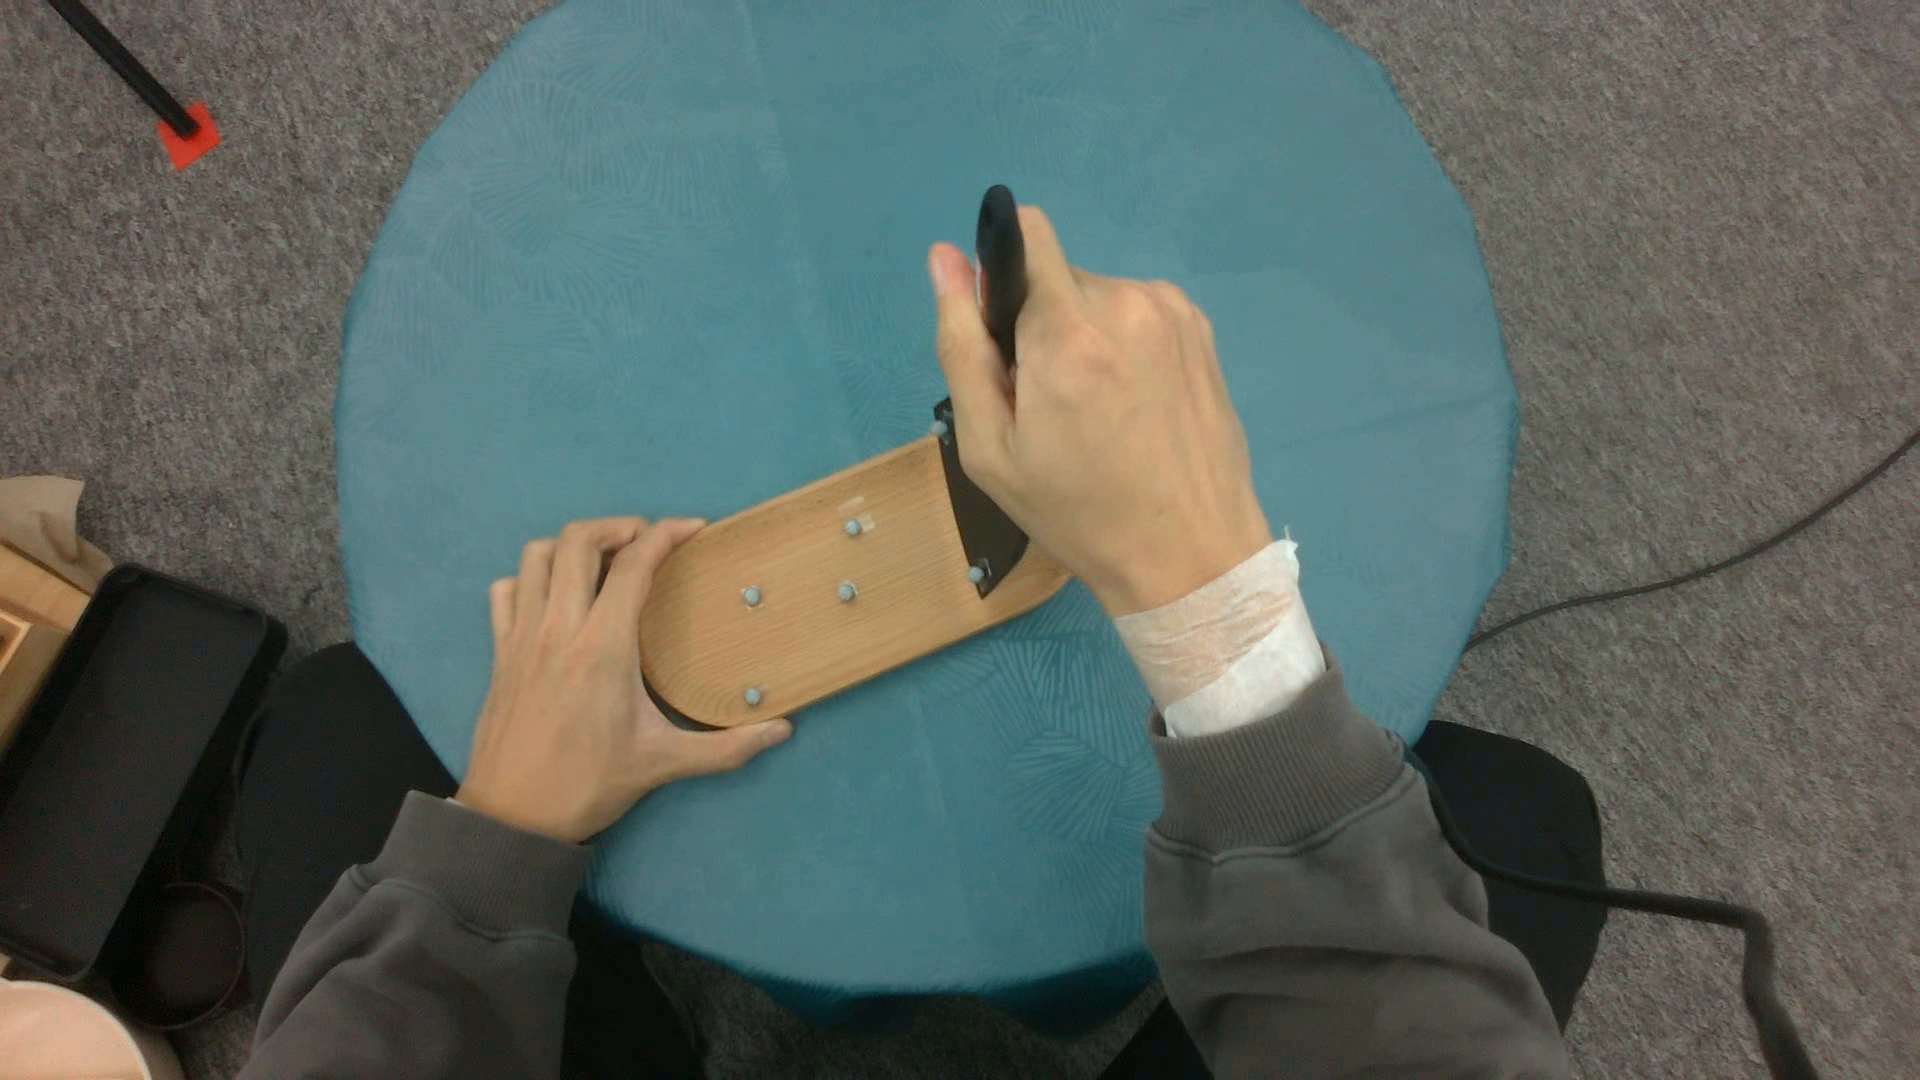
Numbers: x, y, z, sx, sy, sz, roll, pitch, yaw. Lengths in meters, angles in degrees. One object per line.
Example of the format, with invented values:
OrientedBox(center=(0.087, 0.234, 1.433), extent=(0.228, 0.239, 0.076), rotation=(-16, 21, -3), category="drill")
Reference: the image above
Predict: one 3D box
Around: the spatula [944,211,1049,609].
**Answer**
OrientedBox(center=(0.012, -0.047, 0.521), extent=(0.040, 0.325, 0.100), rotation=(-16, 78, 0), category="spatula")

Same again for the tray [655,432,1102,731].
OrientedBox(center=(-0.039, 0.019, 0.688), extent=(0.231, 0.020, 0.102), rotation=(-23, 75, -6), category="tray")
